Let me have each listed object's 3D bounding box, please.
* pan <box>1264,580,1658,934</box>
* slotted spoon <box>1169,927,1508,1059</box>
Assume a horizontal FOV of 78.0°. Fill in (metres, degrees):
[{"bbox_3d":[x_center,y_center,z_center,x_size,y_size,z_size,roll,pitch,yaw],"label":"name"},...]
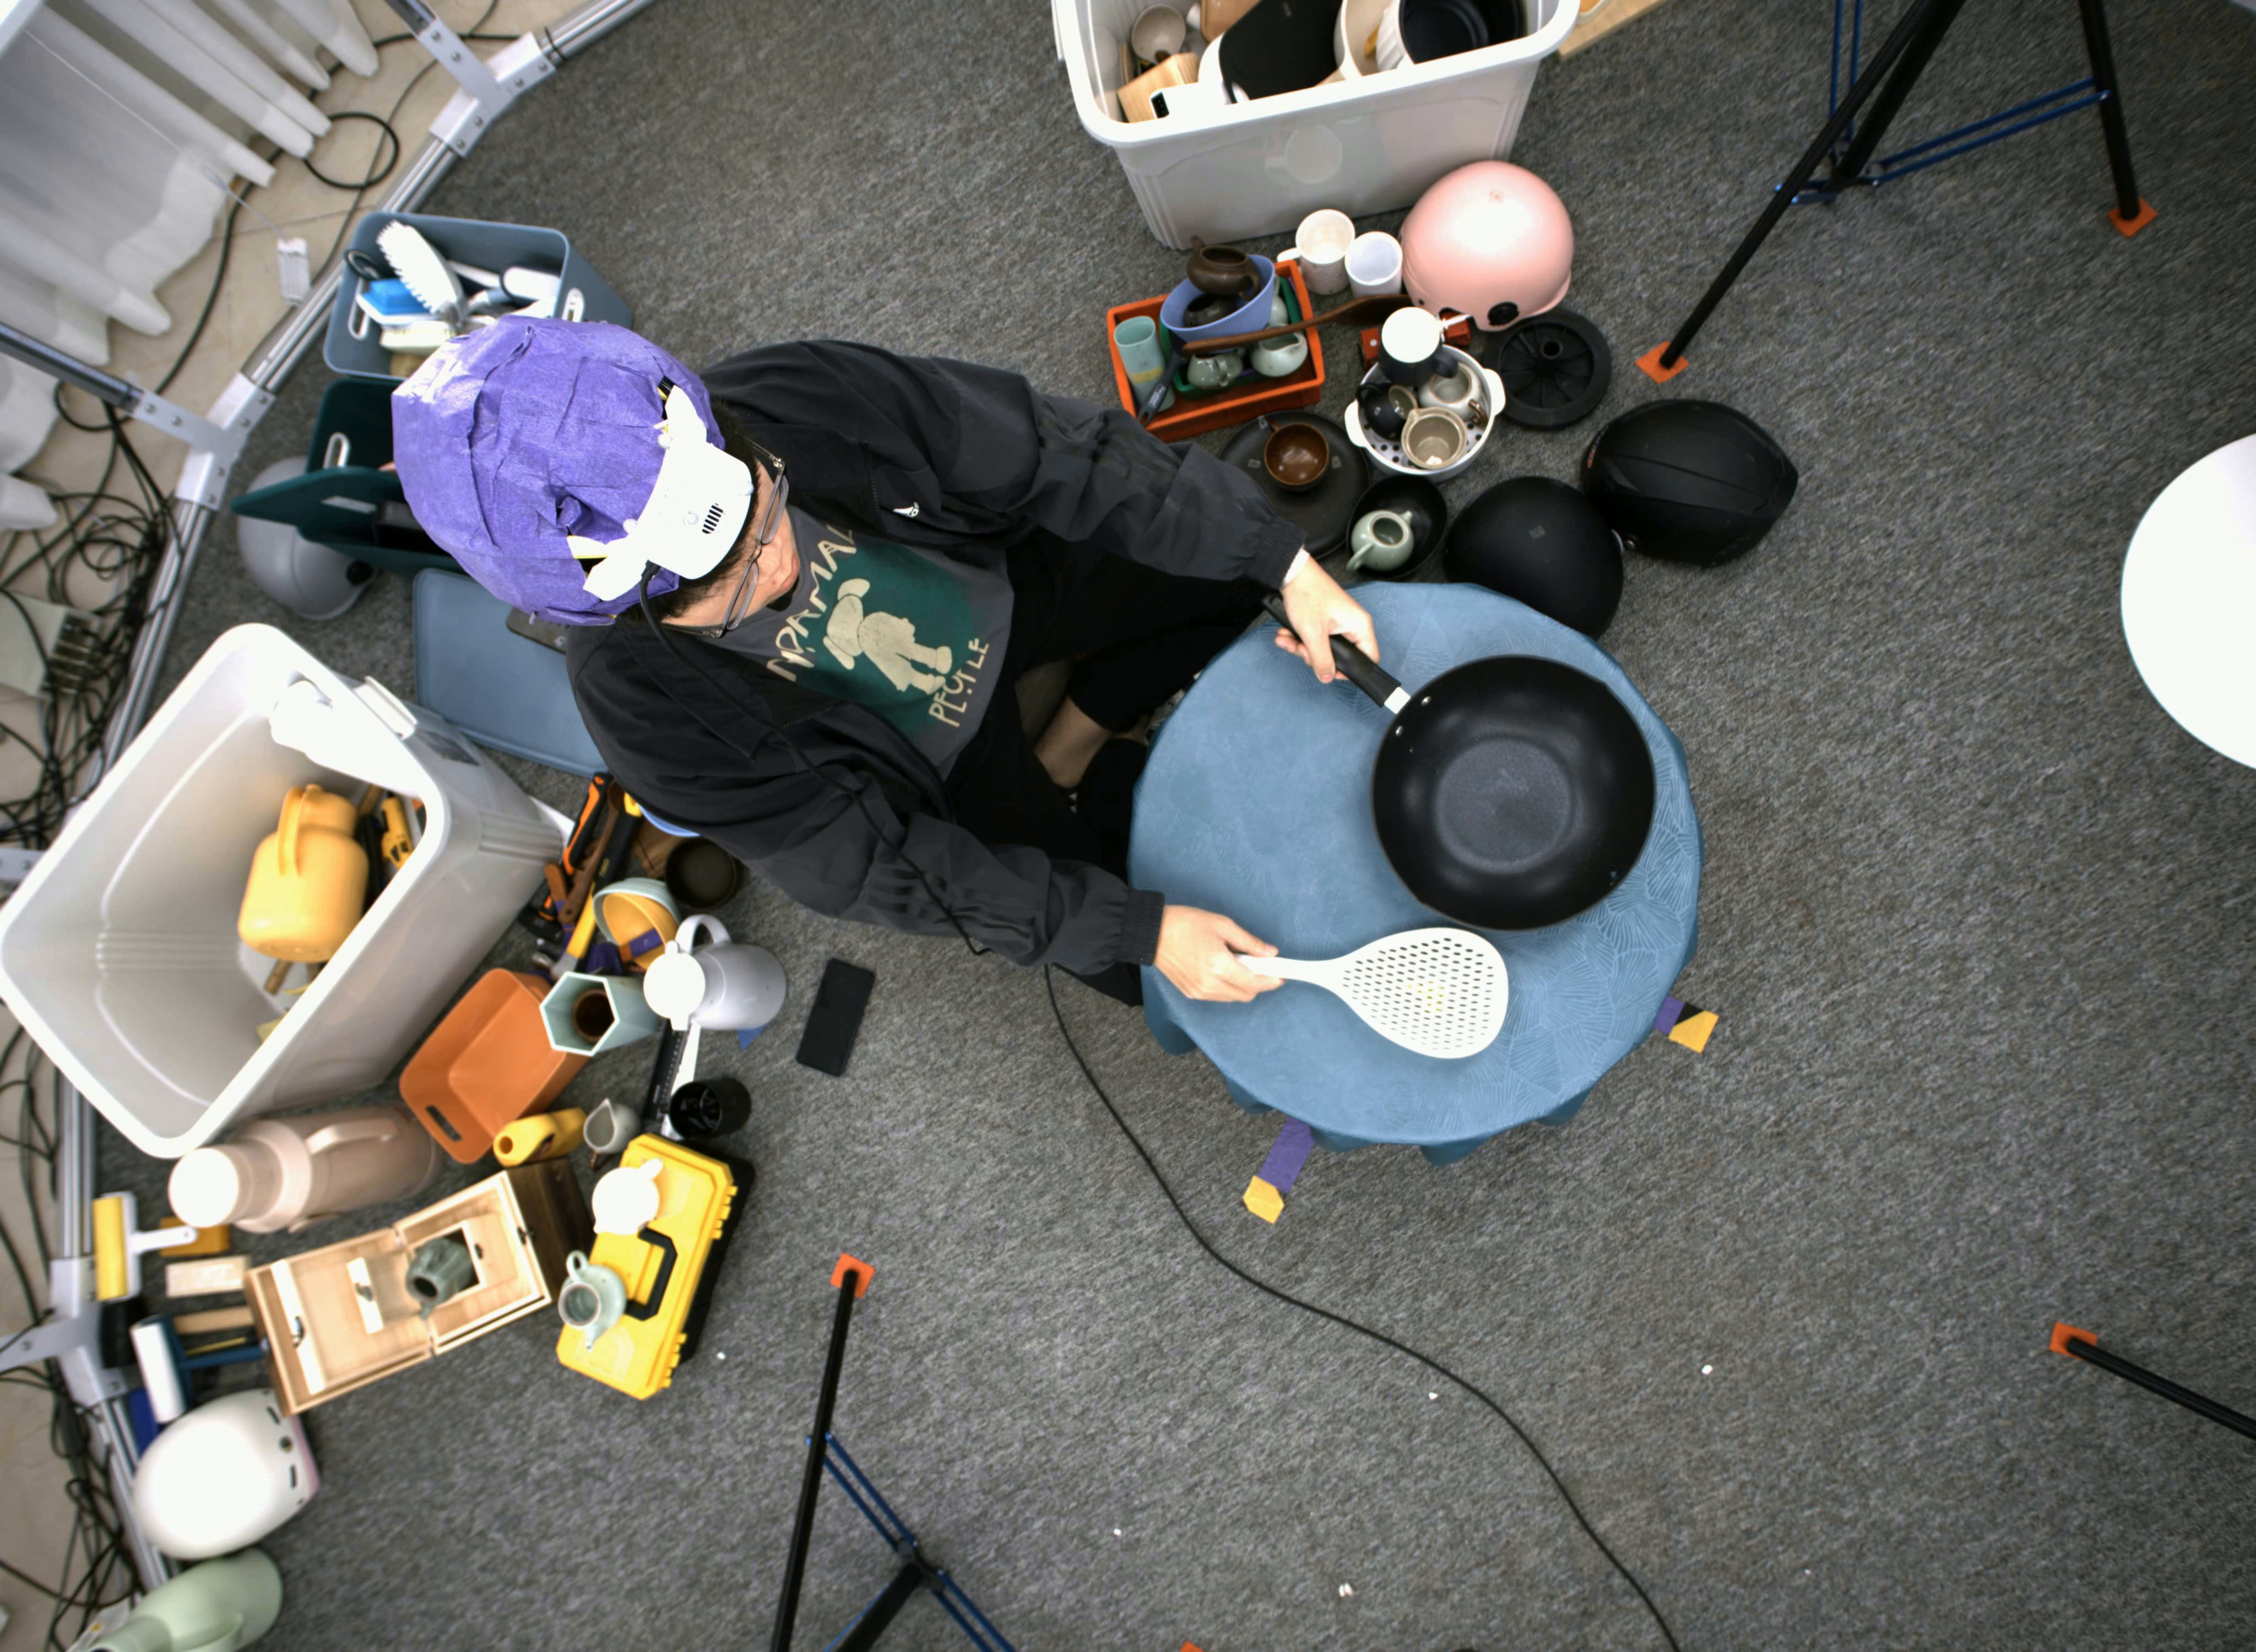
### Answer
[{"bbox_3d":[0.319,-0.090,1.414,0.461,0.087,0.289,41,94,11],"label":"pan"},{"bbox_3d":[0.214,0.158,1.435,0.348,0.051,0.135,8,76,7],"label":"slotted spoon"}]
